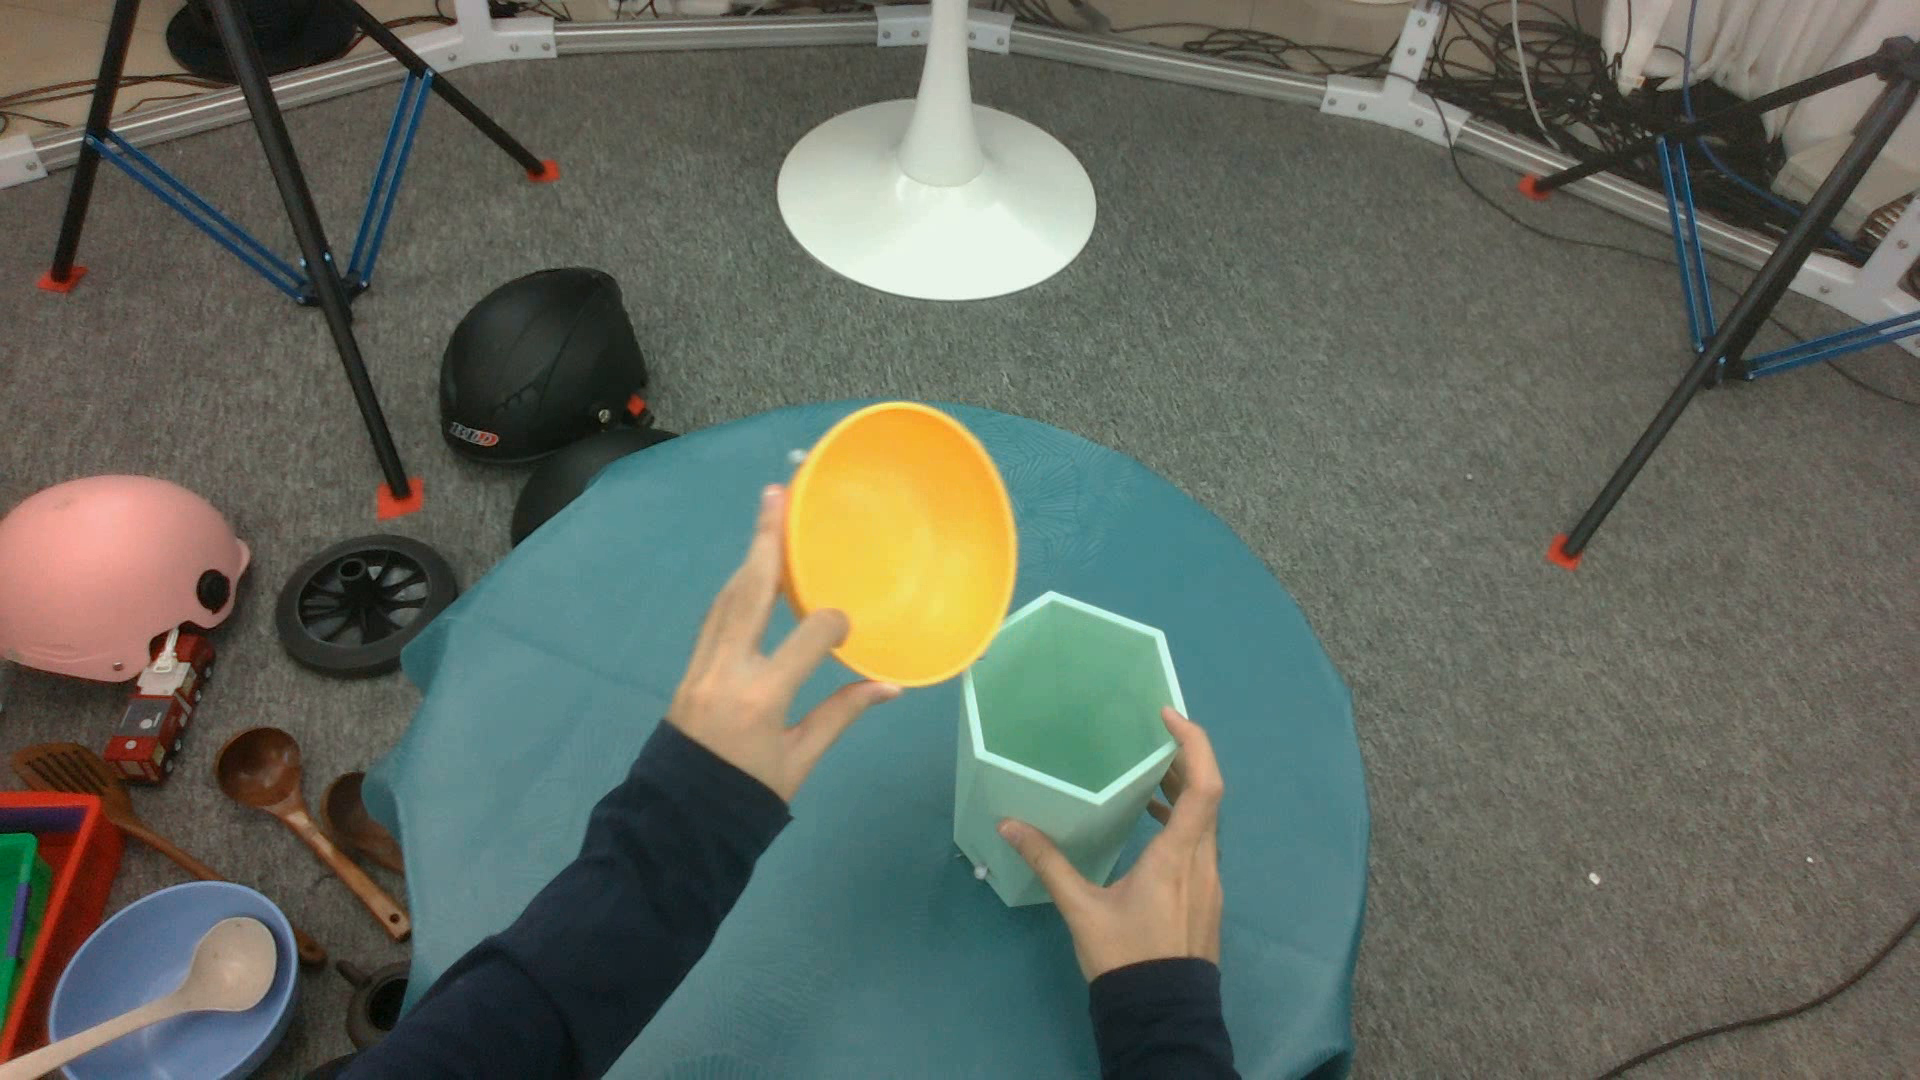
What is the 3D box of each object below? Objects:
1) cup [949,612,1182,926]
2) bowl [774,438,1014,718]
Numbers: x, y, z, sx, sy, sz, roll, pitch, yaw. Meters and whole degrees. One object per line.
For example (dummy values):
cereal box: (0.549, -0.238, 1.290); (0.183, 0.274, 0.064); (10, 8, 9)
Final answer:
cup: (0.051, 0.140, 0.787); (0.131, 0.162, 0.116); (18, 51, 10)
bowl: (-0.045, 0.022, 0.727); (0.060, 0.145, 0.146); (-10, 29, 50)
